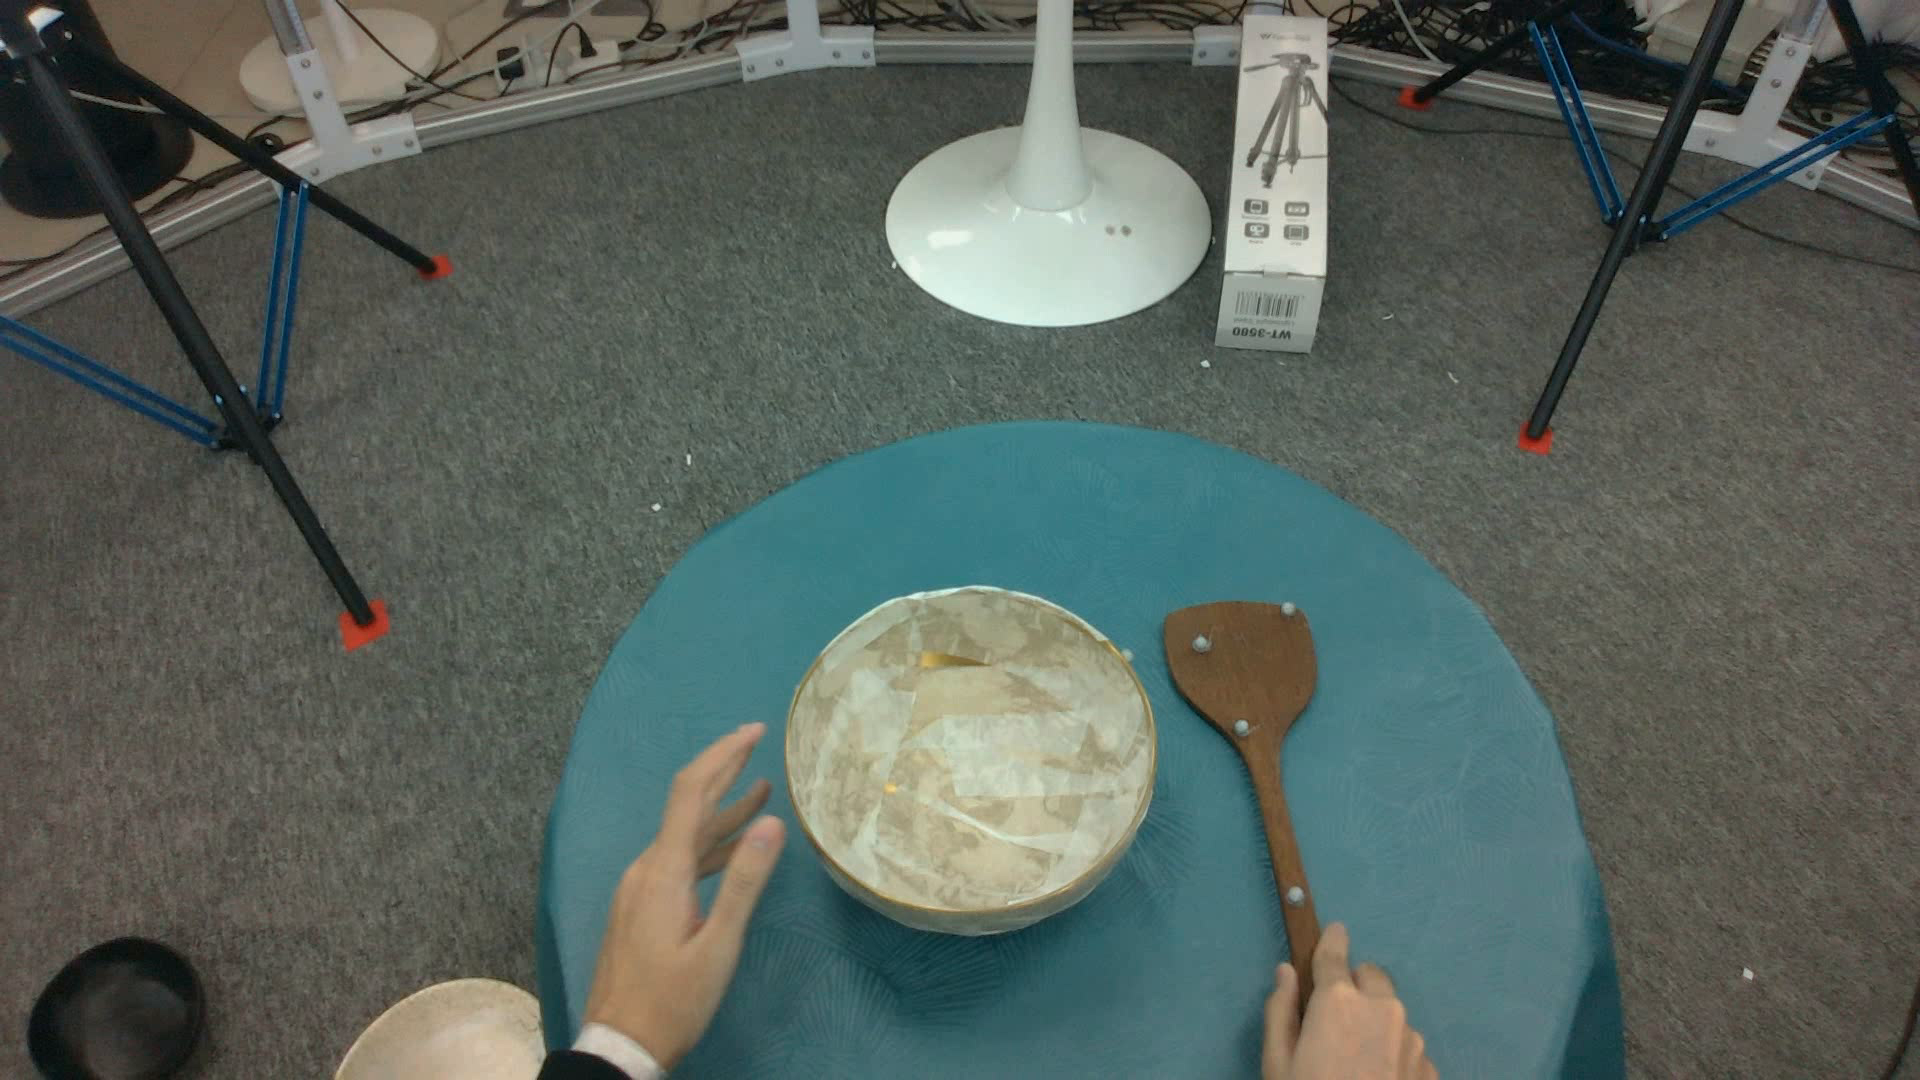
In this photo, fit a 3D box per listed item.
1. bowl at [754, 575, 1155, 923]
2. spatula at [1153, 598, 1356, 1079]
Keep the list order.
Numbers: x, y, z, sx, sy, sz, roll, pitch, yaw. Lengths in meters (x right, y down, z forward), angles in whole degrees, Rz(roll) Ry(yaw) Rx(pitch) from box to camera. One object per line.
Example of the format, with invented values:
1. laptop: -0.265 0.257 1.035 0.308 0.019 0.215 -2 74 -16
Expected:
1. bowl: -0.002 0.128 0.761 0.215 0.094 0.215 1 50 -1
2. spatula: 0.176 0.177 0.761 0.096 0.016 0.387 -2 45 -1
